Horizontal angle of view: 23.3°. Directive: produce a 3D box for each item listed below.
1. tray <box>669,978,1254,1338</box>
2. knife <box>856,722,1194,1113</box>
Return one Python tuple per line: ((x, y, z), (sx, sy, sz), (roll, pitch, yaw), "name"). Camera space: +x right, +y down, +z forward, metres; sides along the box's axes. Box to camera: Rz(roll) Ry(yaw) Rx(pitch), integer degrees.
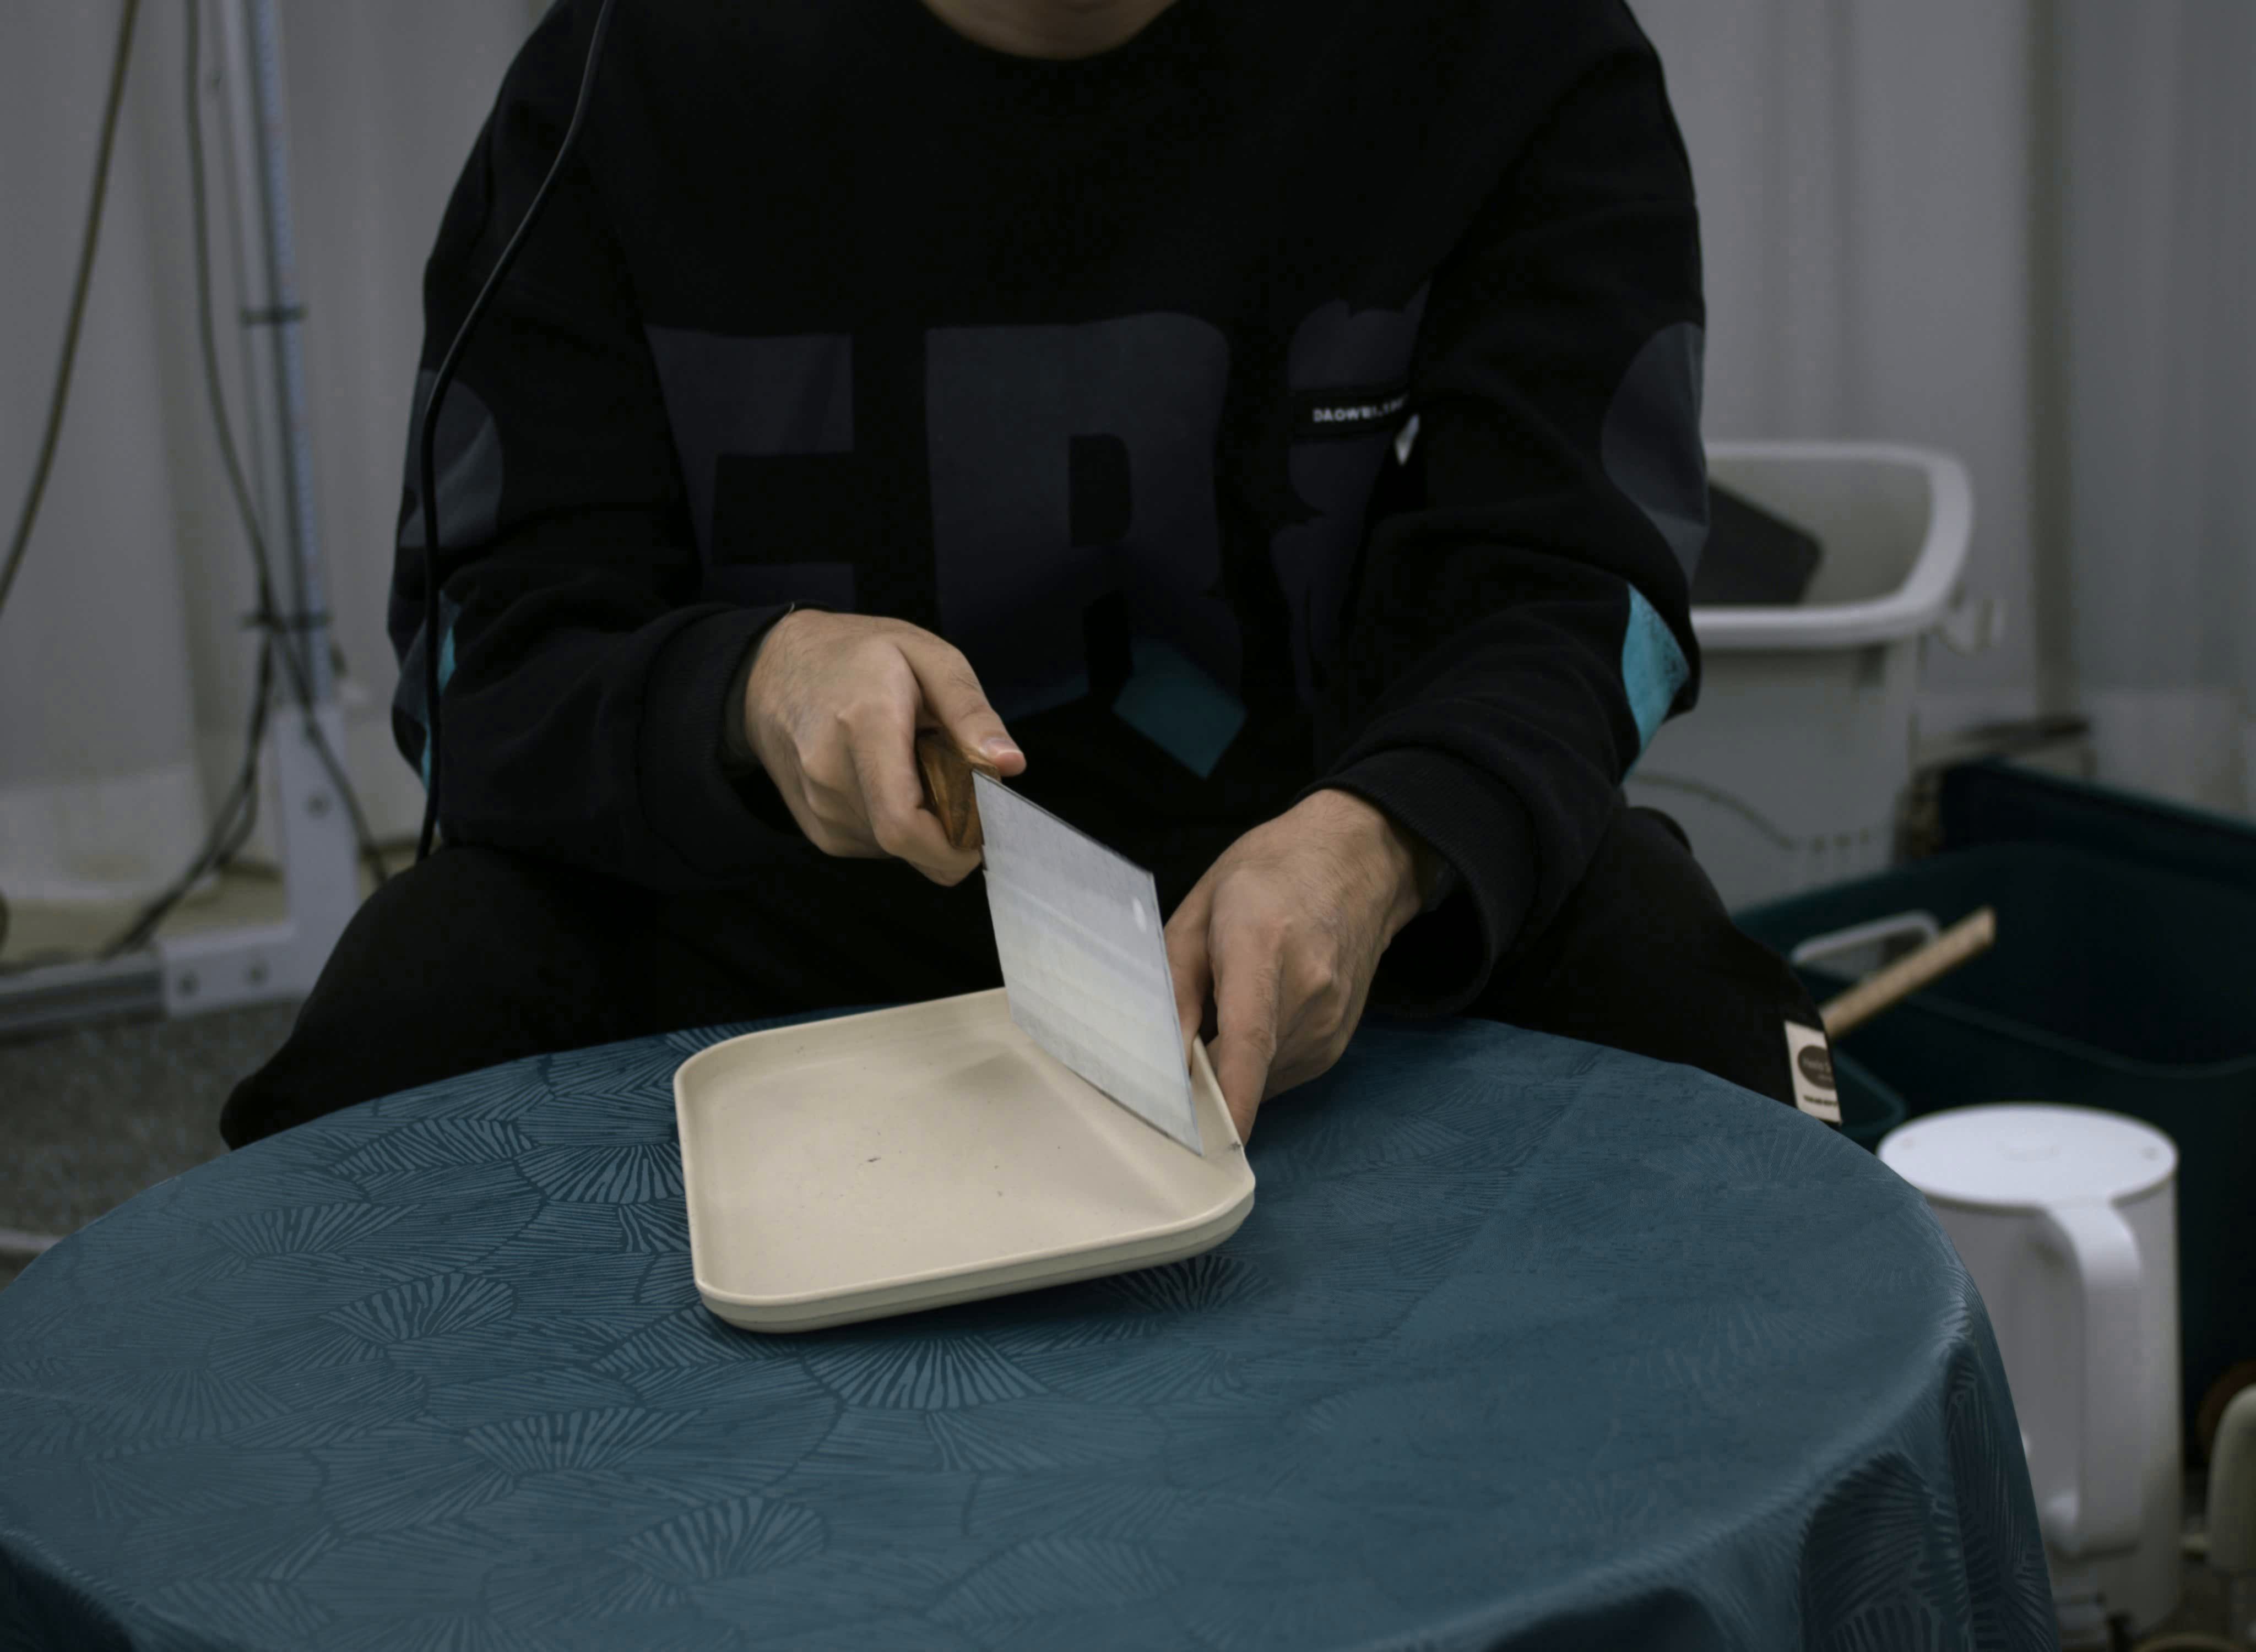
((-0.055, 0.100, 1.706), (0.171, 0.017, 0.242), (-11, 18, -3), "tray")
((-0.033, 0.029, 1.753), (0.021, 0.092, 0.308), (-13, 15, -16), "knife")
